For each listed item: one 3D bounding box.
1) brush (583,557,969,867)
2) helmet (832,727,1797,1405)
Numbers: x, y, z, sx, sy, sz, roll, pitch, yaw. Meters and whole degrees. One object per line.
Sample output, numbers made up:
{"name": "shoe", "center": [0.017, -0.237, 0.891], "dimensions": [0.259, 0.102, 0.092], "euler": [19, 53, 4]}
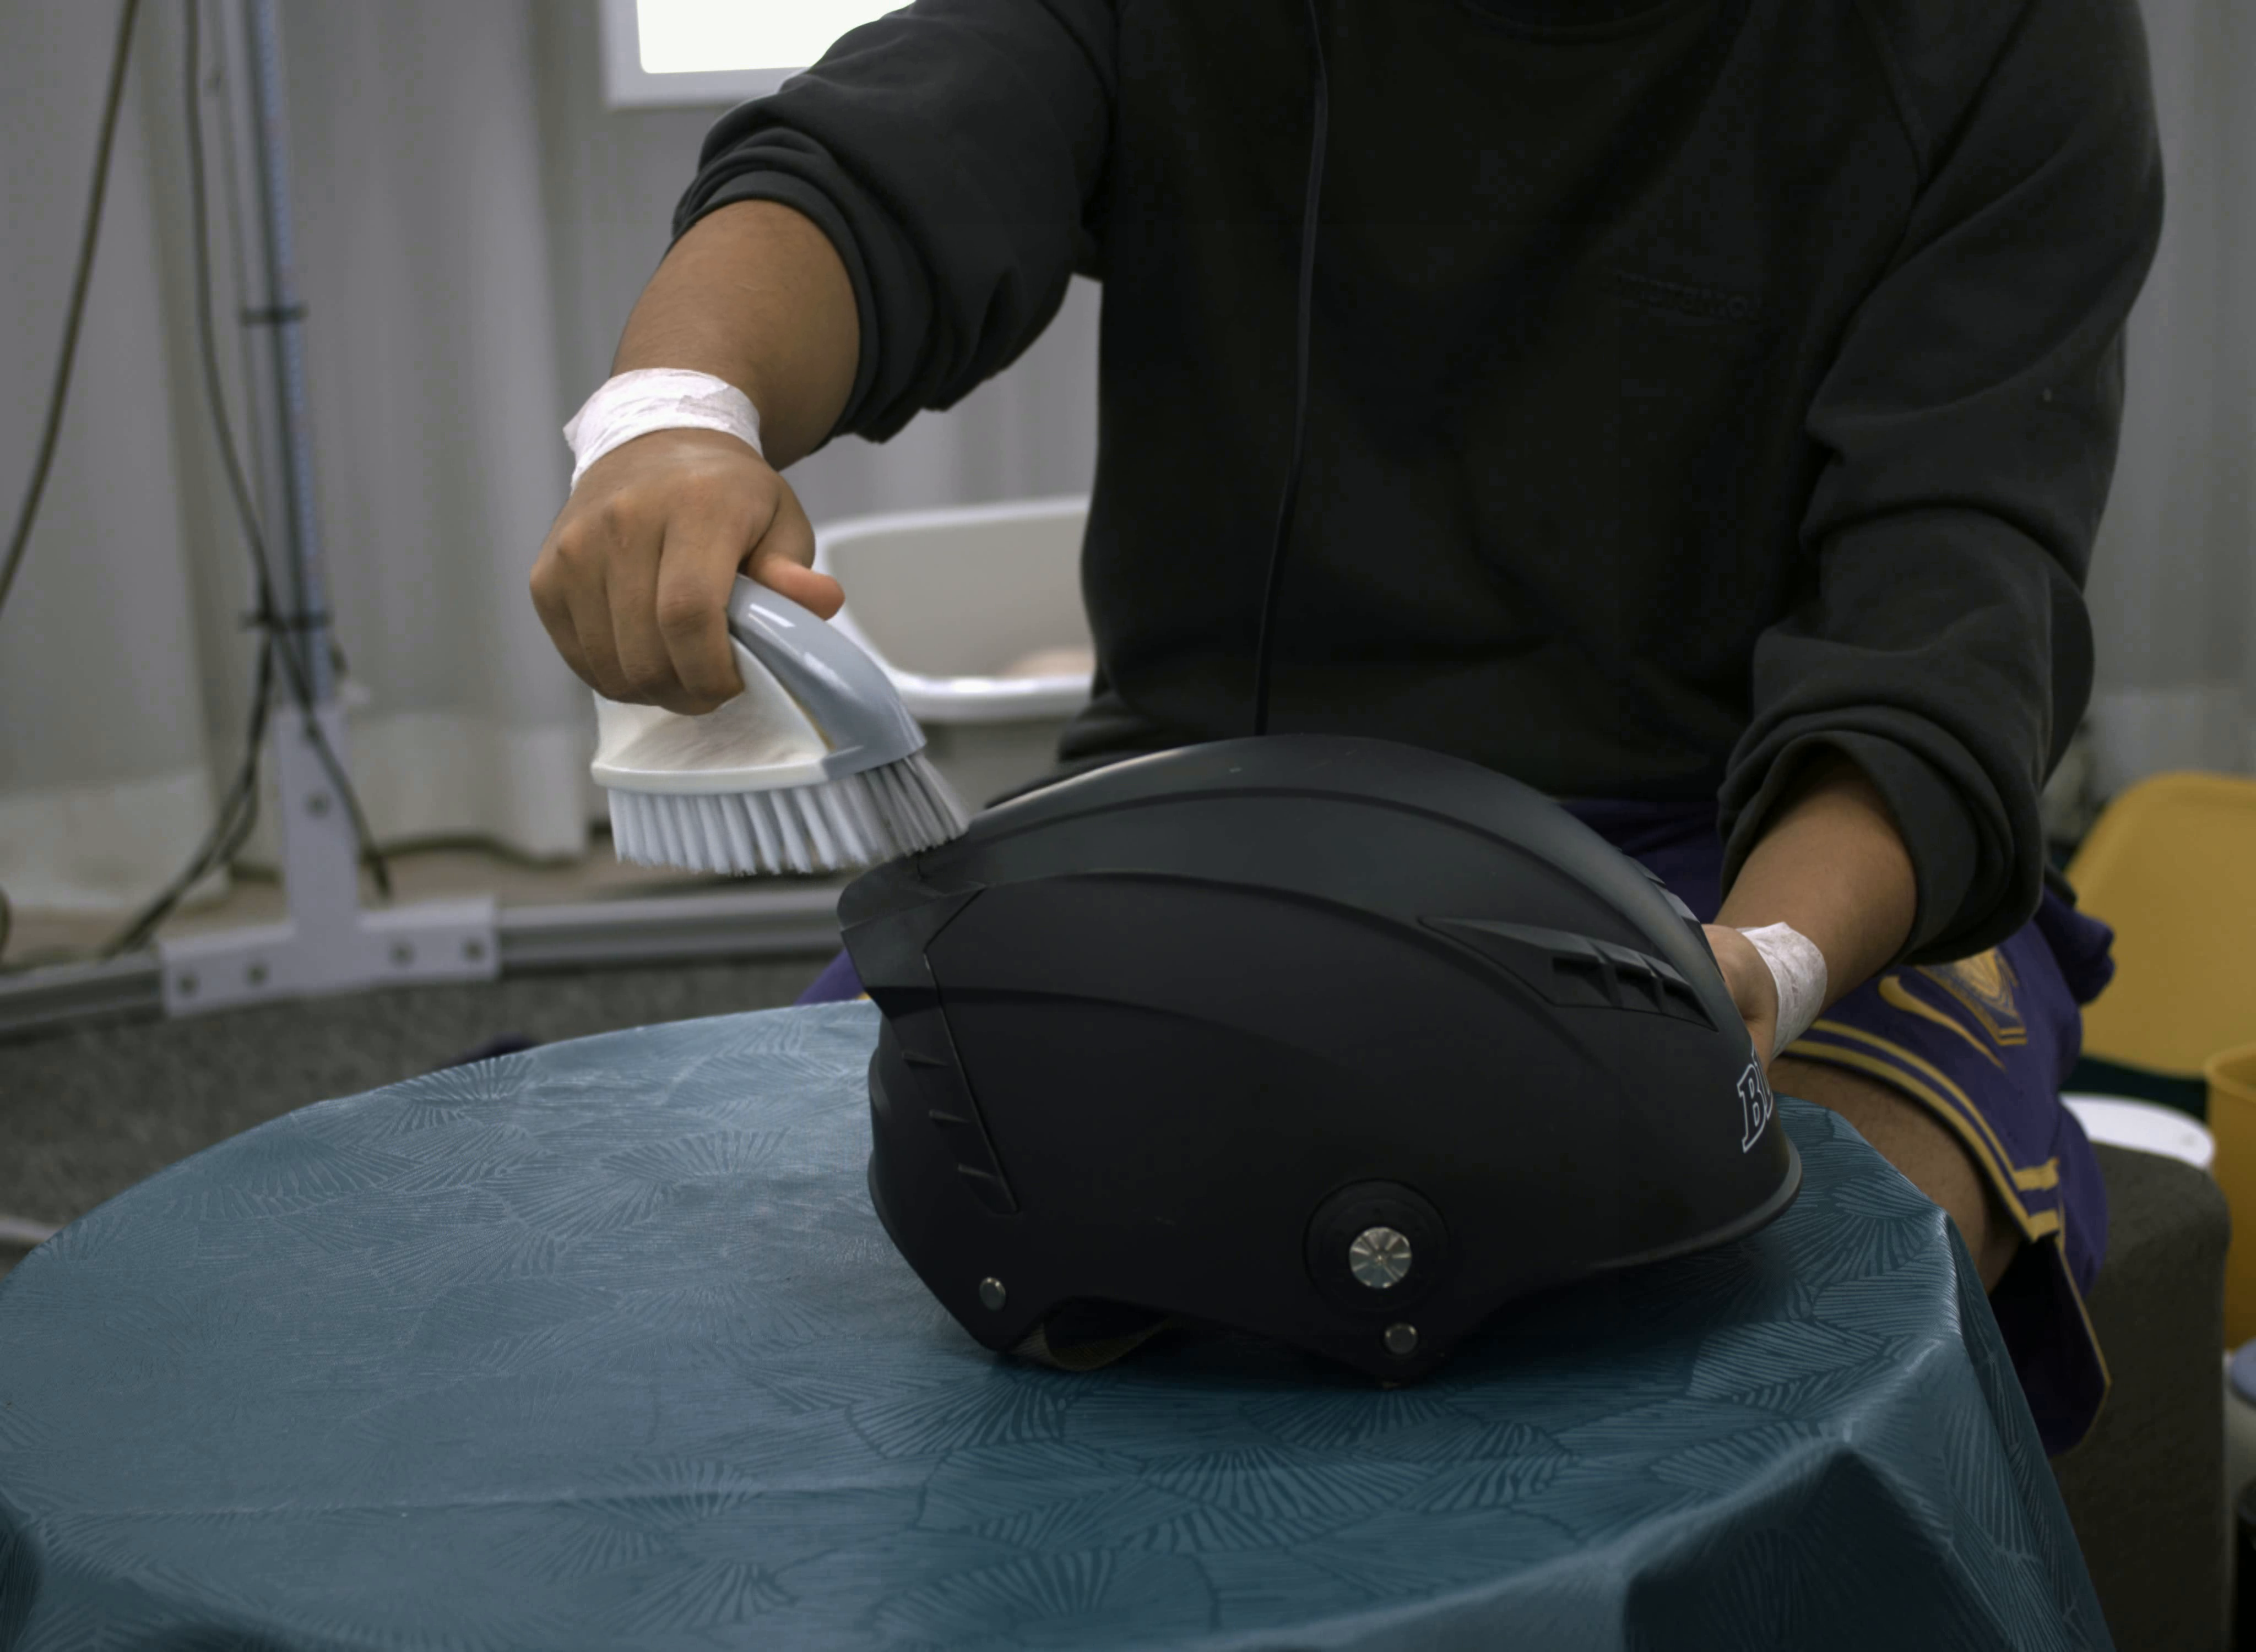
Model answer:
{"name": "brush", "center": [-0.113, -0.039, 1.680], "dimensions": [0.061, 0.093, 0.176], "euler": [-34, 22, -27]}
{"name": "helmet", "center": [0.053, 0.056, 1.618], "dimensions": [0.276, 0.172, 0.248], "euler": [-5, 15, 12]}
